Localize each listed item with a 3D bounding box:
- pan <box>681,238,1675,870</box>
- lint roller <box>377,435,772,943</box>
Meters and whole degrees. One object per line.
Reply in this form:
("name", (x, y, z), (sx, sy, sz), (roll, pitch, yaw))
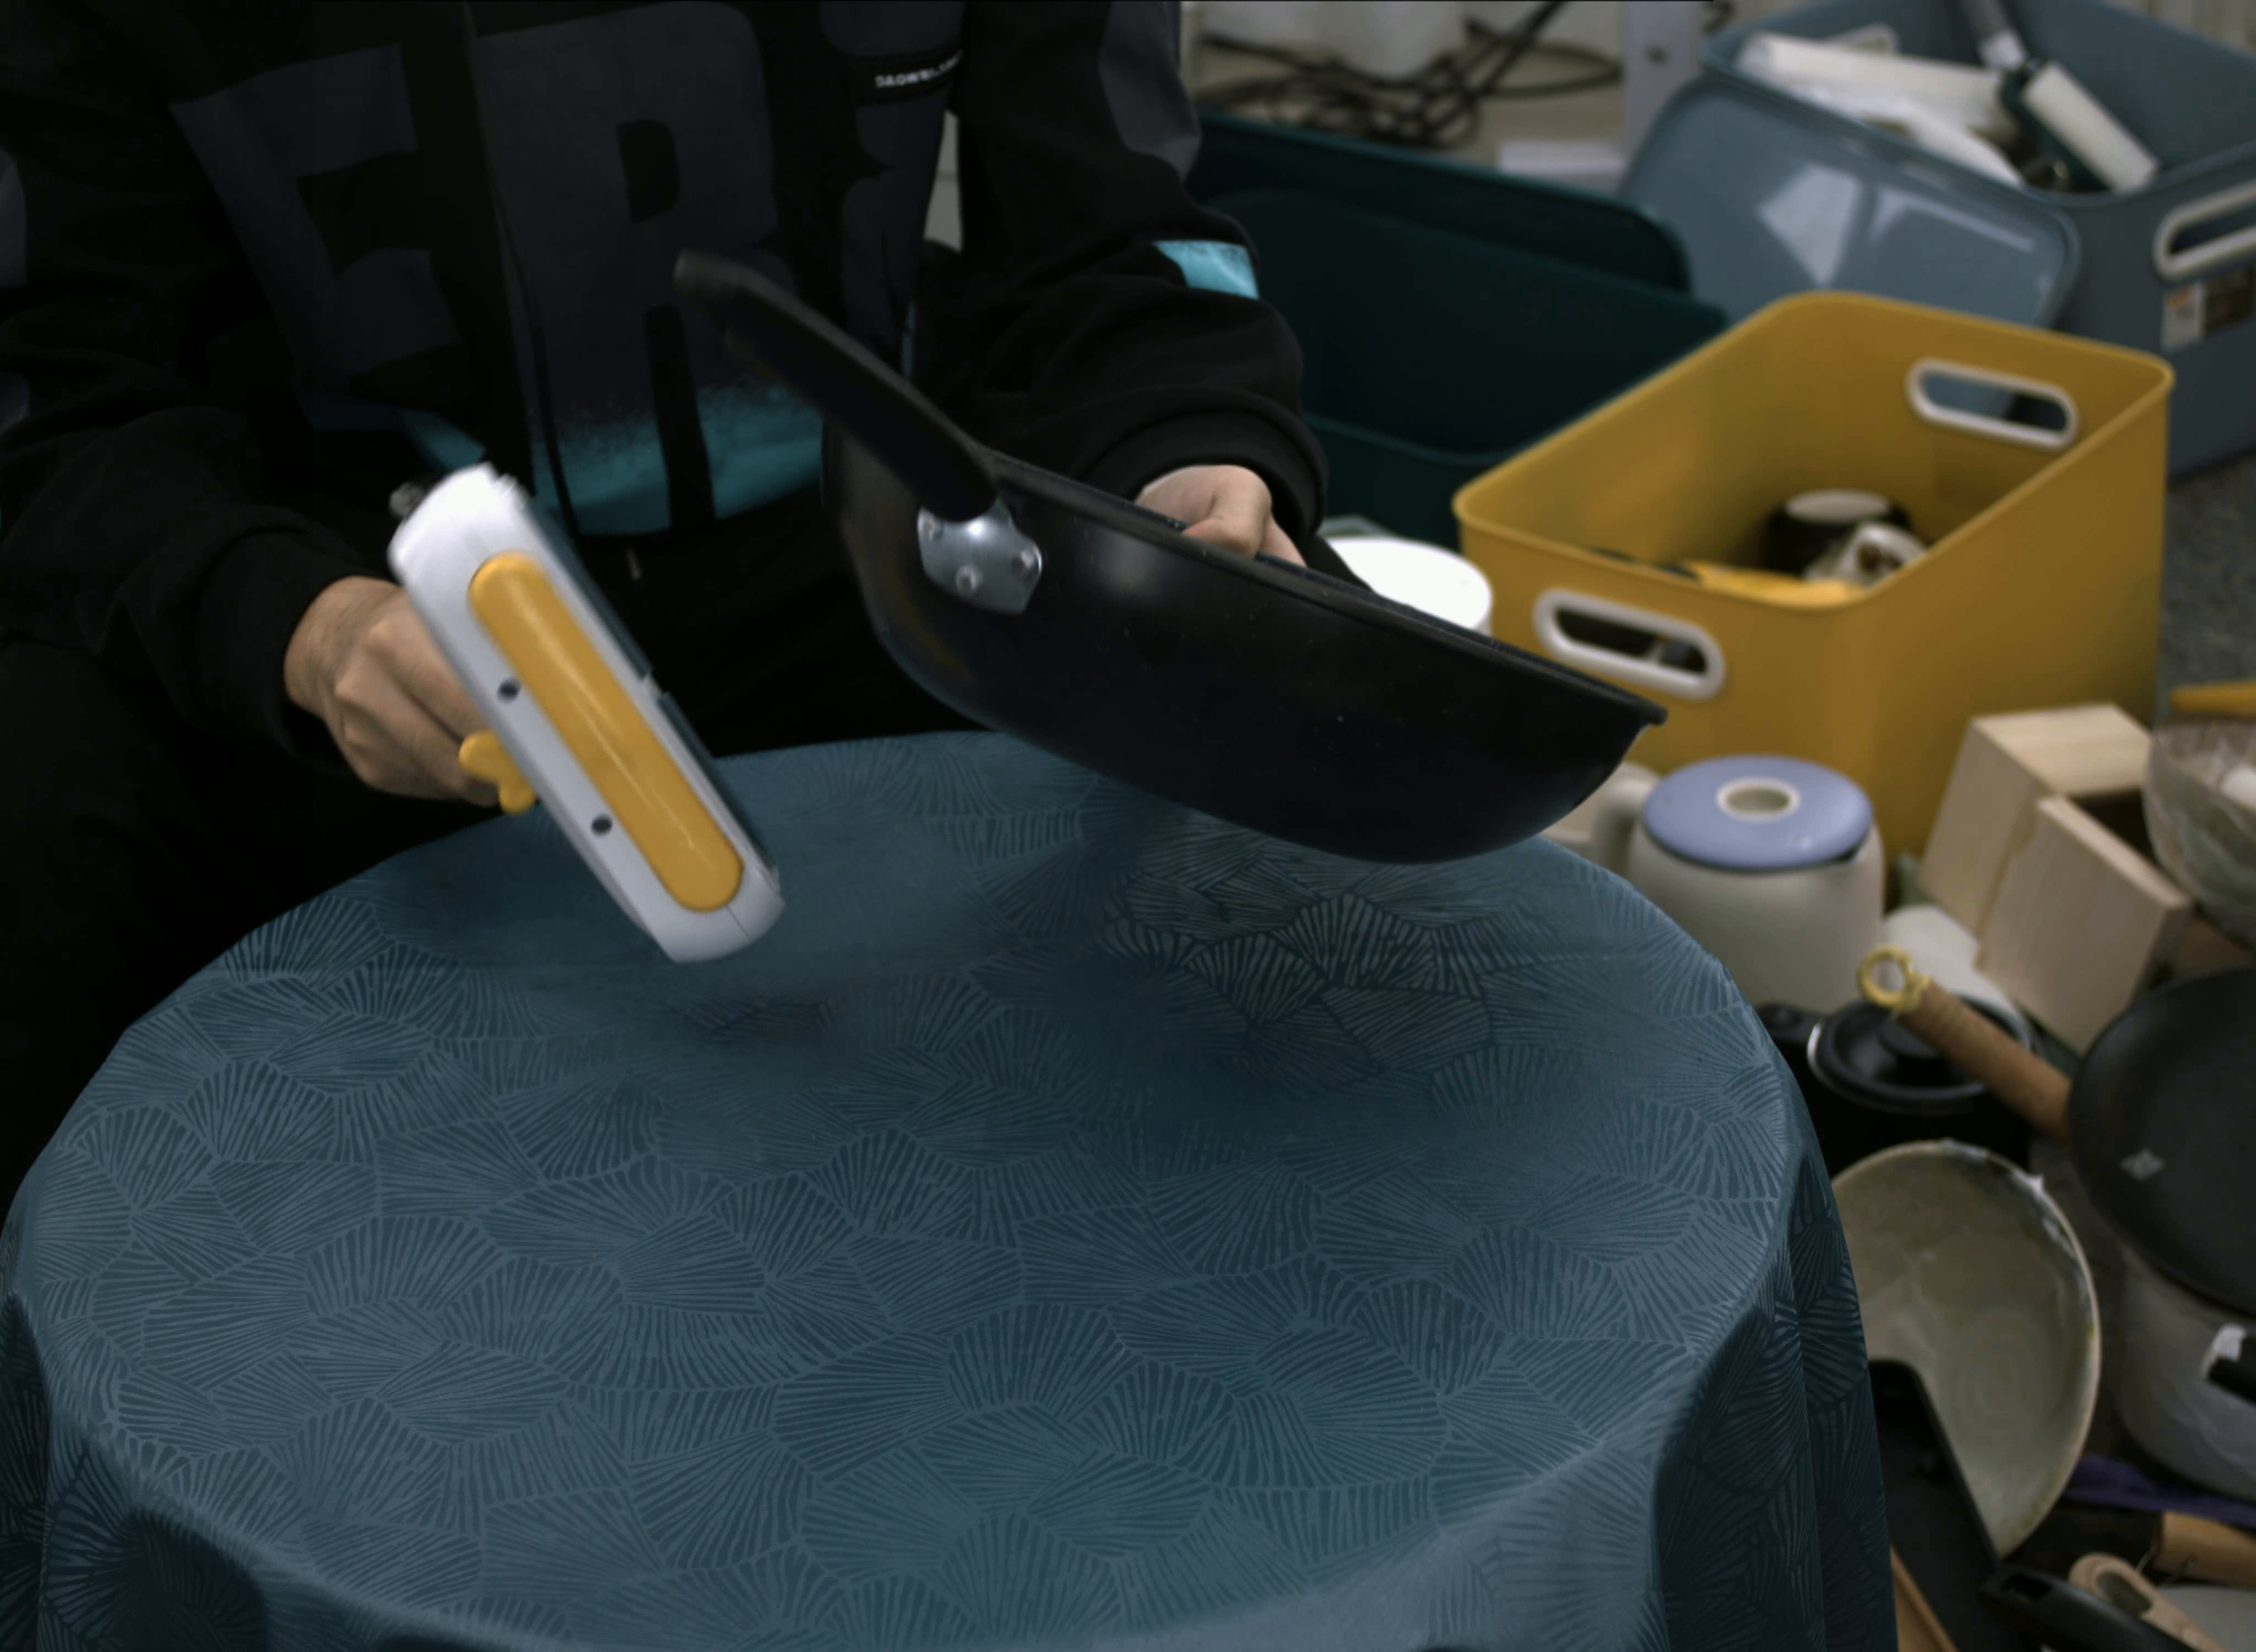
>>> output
("pan", (-0.014, -0.078, 1.844), (0.309, 0.112, 0.476), (21, 2, 34))
("lint roller", (-0.210, -0.045, 1.985), (0.074, 0.192, 0.192), (-39, 13, -11))
